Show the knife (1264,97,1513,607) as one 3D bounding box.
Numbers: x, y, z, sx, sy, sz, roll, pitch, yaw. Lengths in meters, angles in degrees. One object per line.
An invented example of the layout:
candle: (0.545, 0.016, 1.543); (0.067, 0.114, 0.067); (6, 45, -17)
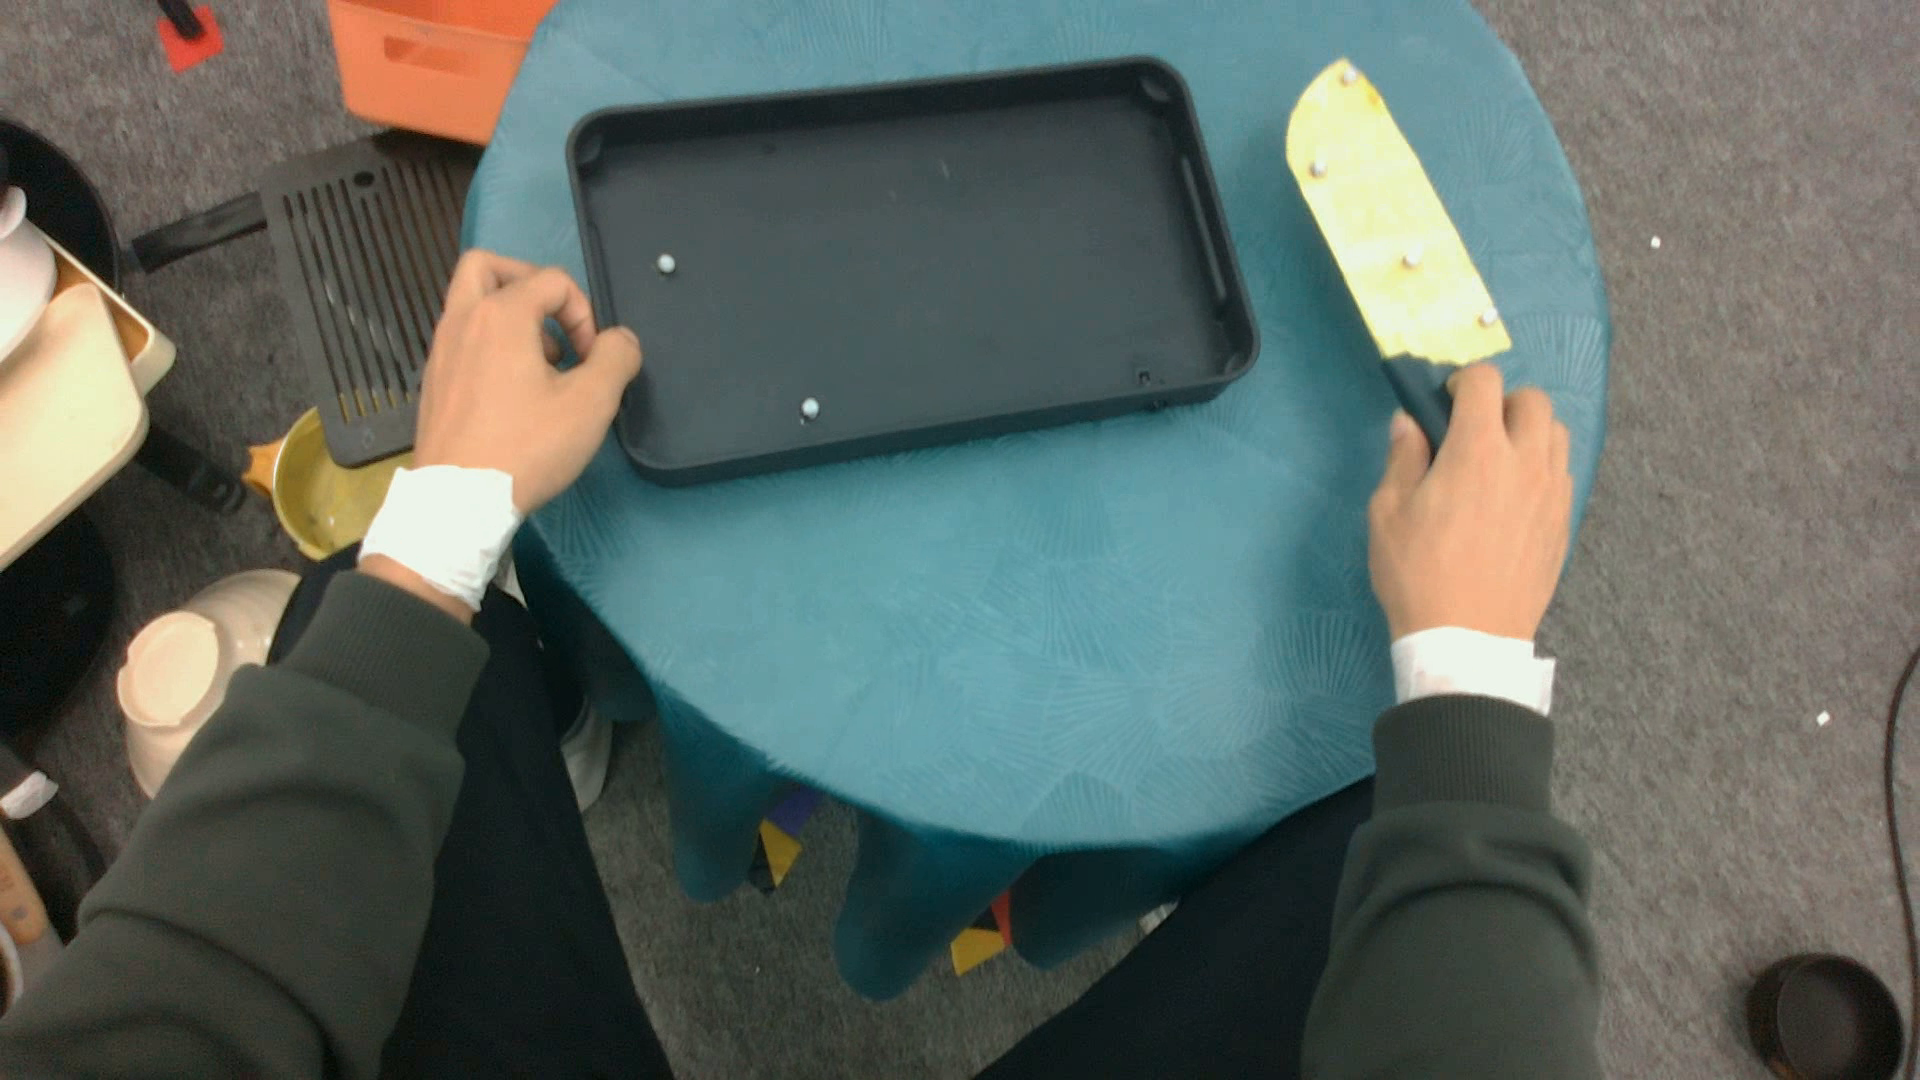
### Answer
knife: (0.226, -0.105, 0.706); (0.081, 0.027, 0.290); (-13, 76, -18)

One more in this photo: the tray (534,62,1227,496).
tray: (-0.037, -0.136, 0.691); (0.318, 0.037, 0.184); (-12, 76, -14)
